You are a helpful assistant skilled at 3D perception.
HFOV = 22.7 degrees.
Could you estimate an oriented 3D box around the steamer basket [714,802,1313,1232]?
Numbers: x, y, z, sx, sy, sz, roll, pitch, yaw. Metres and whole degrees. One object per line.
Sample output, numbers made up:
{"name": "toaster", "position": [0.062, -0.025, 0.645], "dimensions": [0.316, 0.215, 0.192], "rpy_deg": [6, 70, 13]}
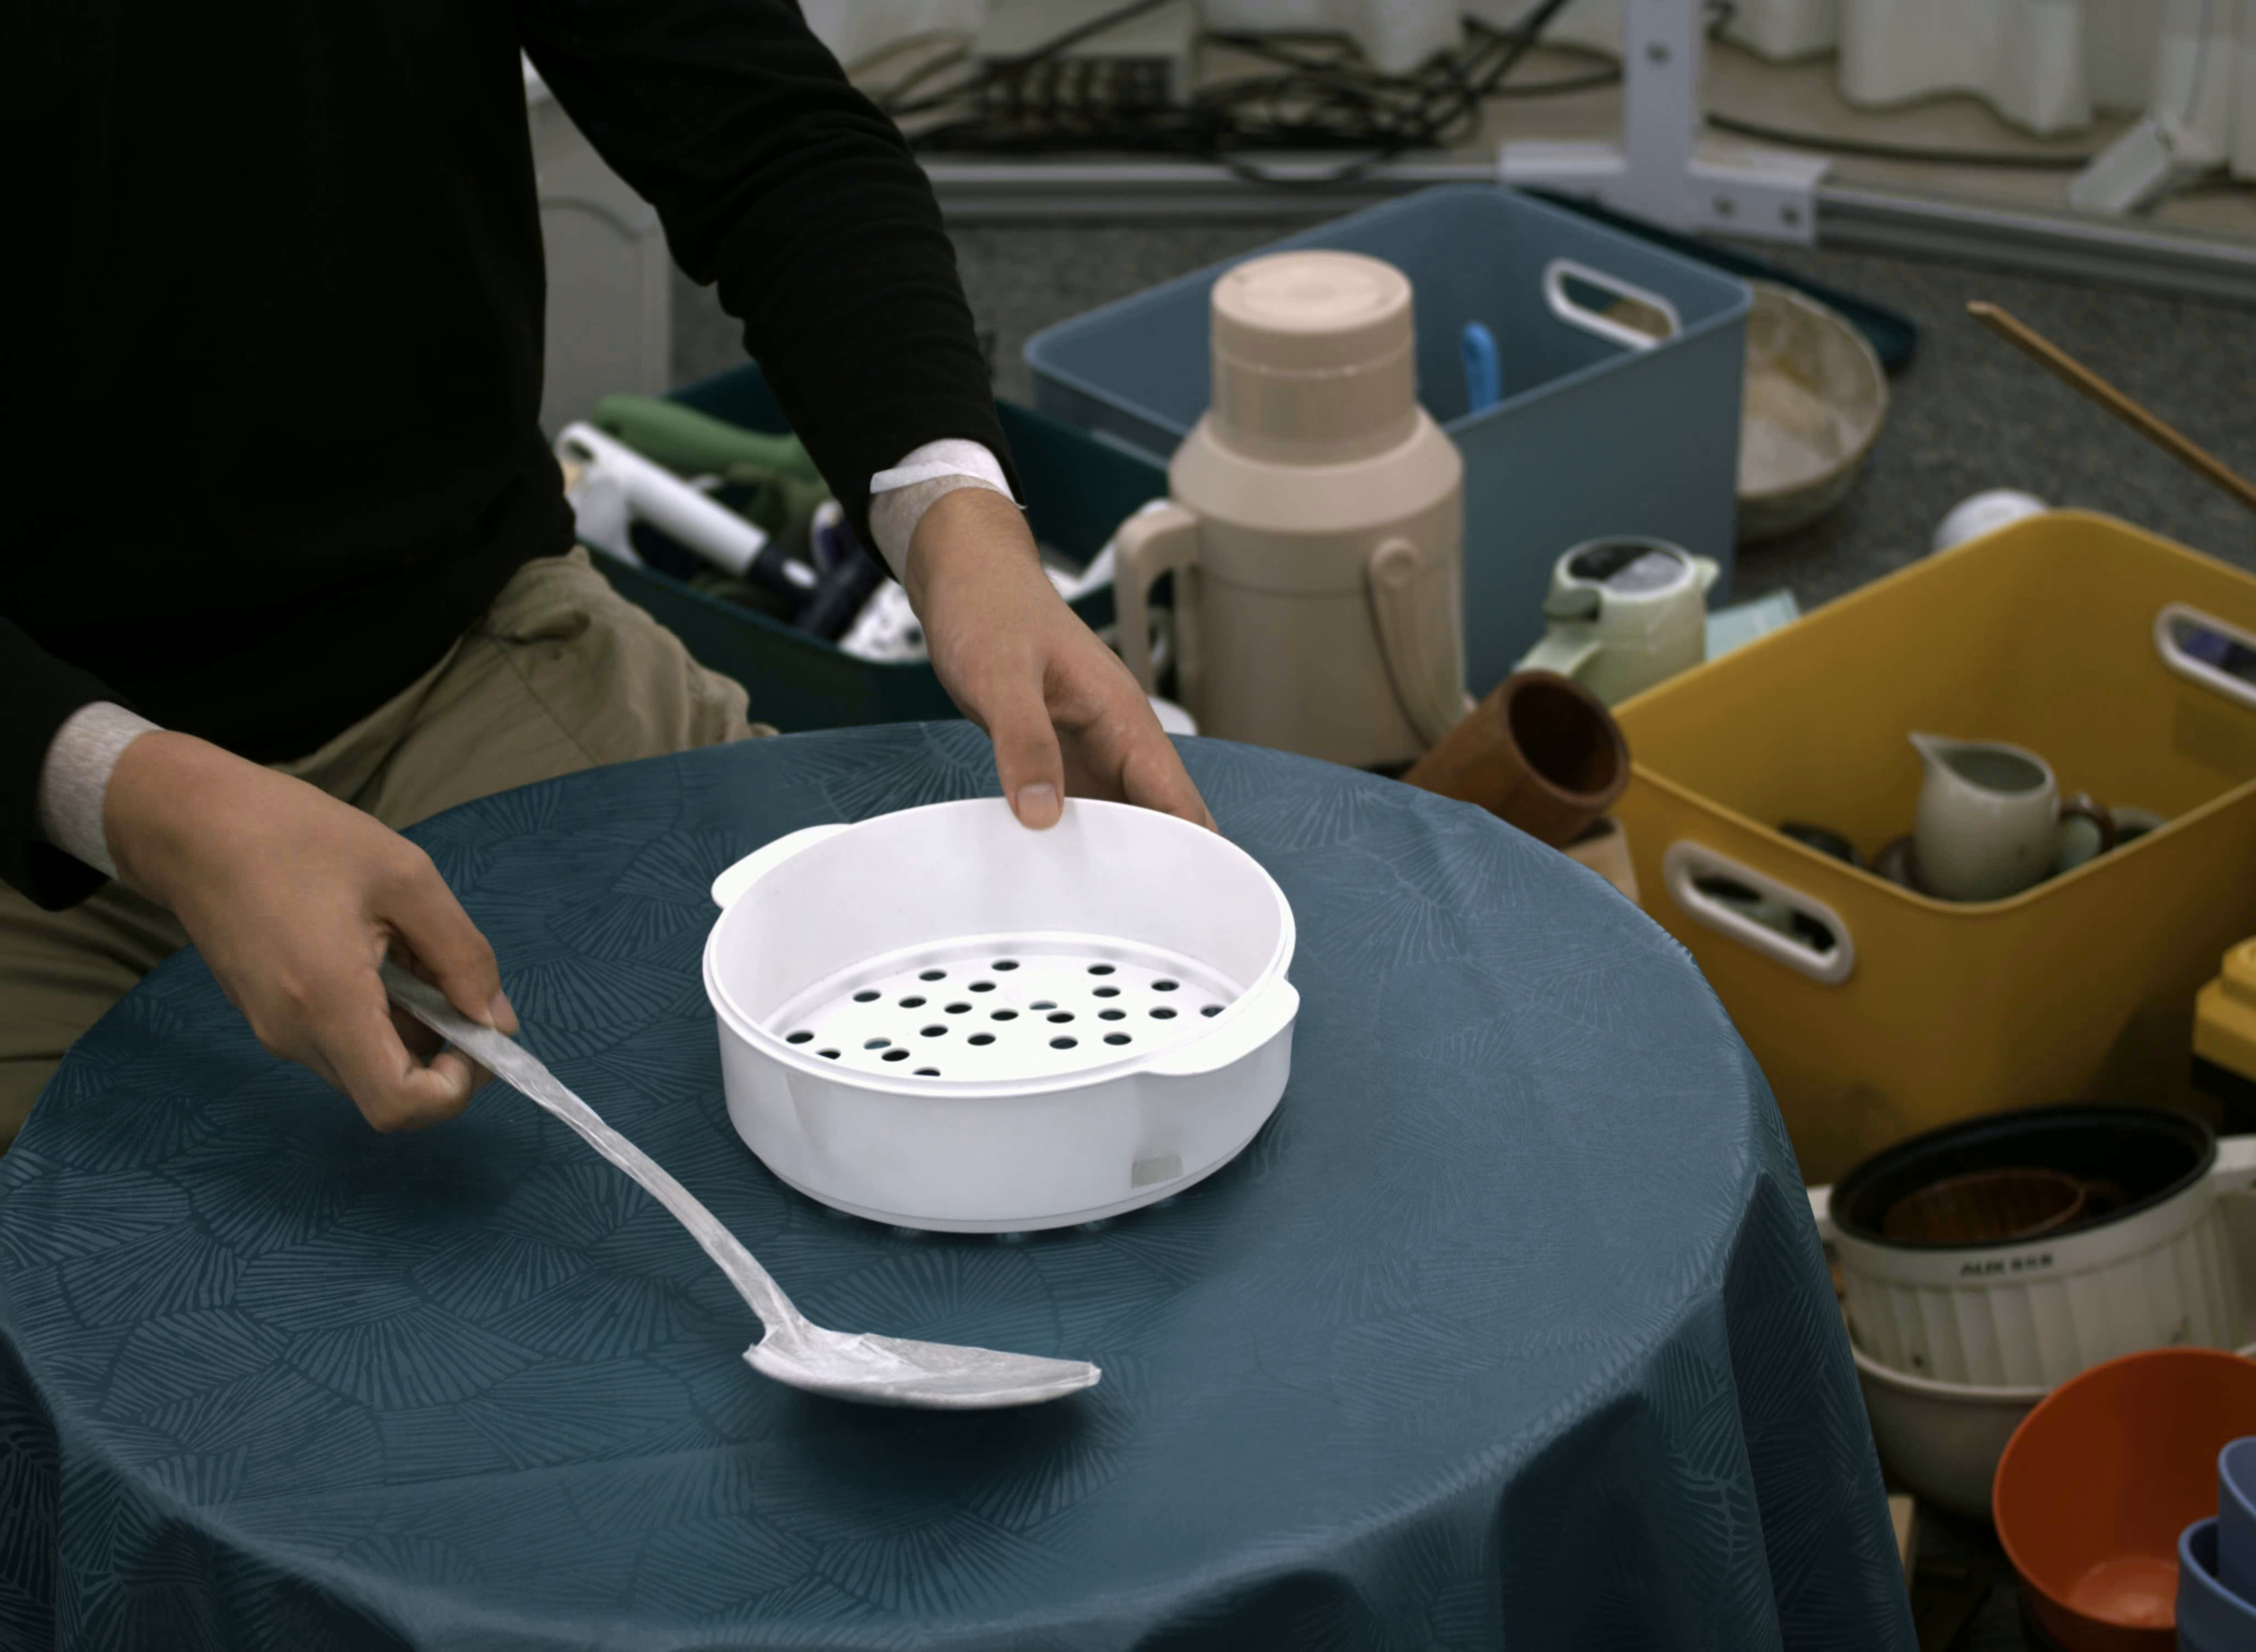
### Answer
{"name": "steamer basket", "position": [-0.038, 0.065, 1.899], "dimensions": [0.230, 0.068, 0.204], "rpy_deg": [19, 34, 37]}

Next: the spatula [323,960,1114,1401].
{"name": "spatula", "position": [-0.153, 0.109, 1.813], "dimensions": [0.099, 0.044, 0.366], "rpy_deg": [-1, 27, -47]}
